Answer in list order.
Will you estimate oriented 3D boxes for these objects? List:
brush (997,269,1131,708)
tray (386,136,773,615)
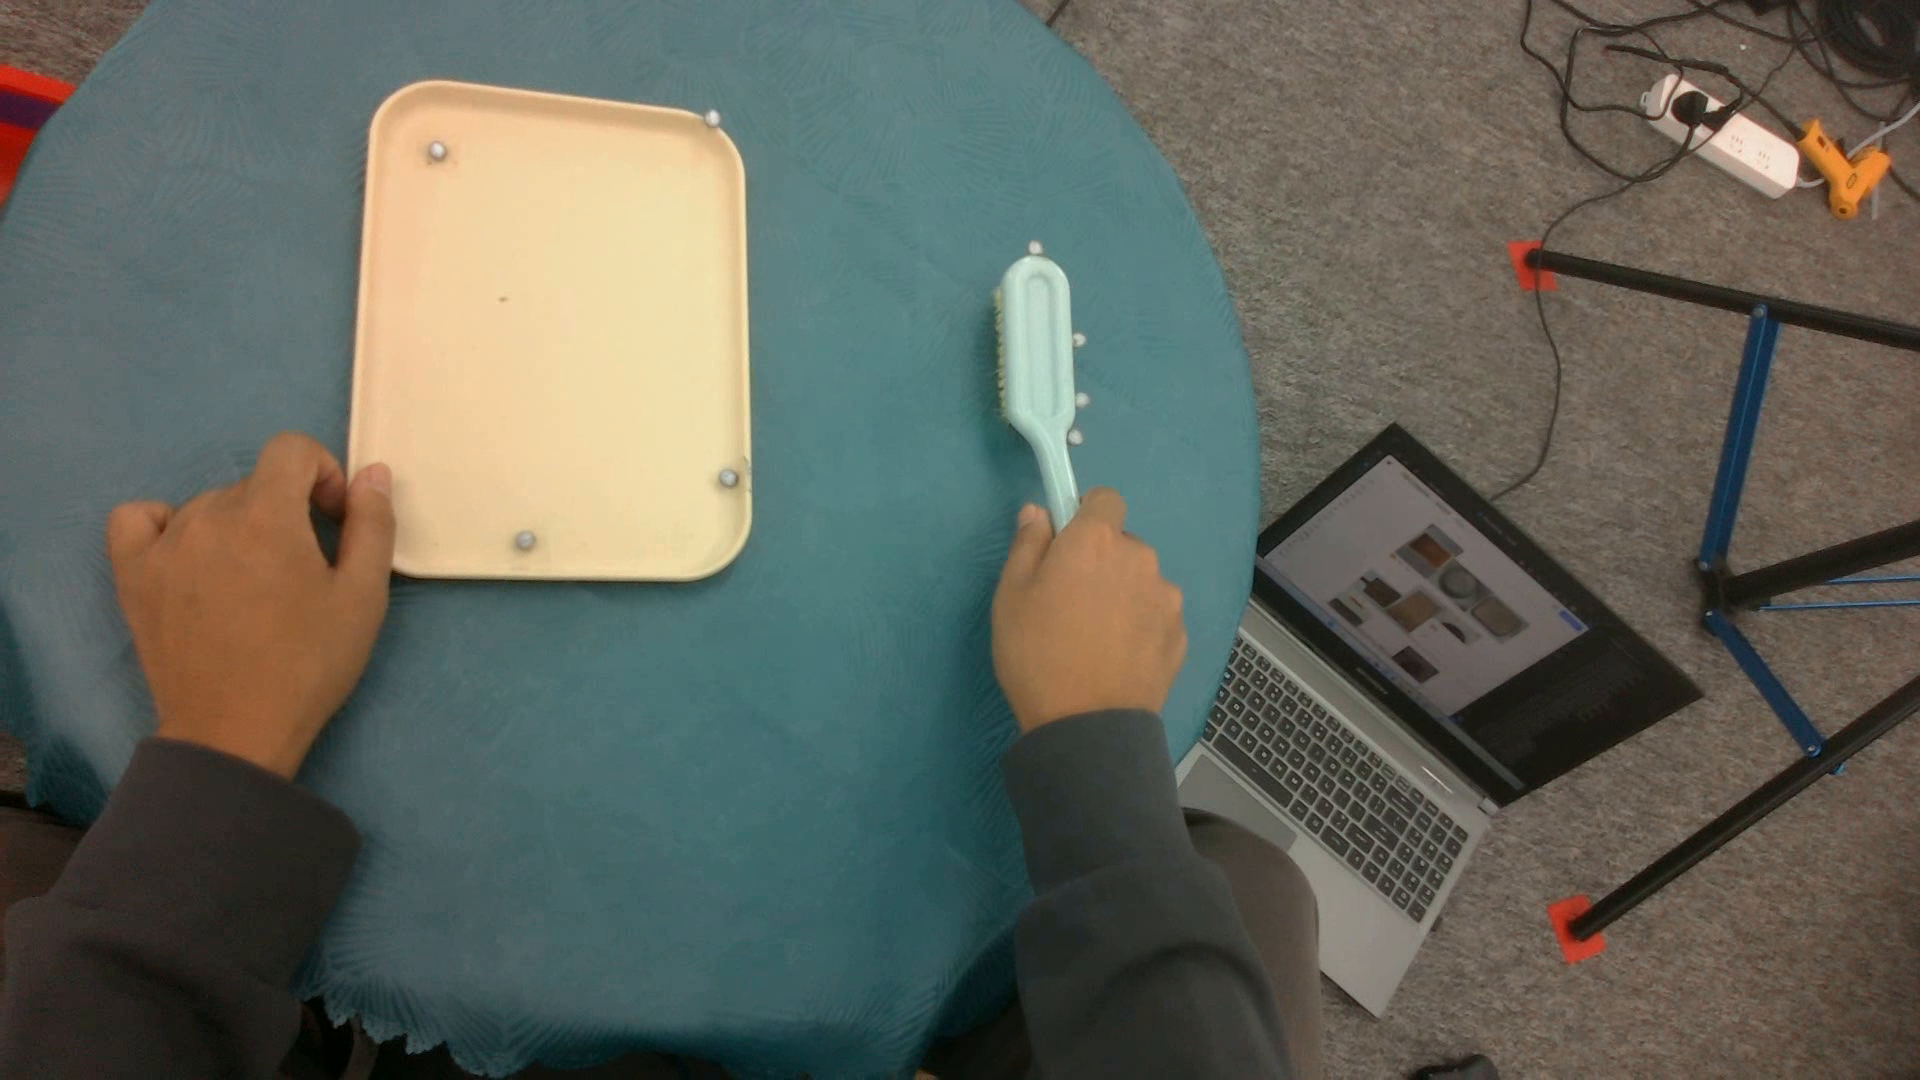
[{"bbox_3d":[0.052,-0.027,0.683,0.038,0.049,0.229,-5,68,-15],"label":"brush"},{"bbox_3d":[-0.180,-0.081,0.656,0.171,0.017,0.240,-1,73,-16],"label":"tray"}]
